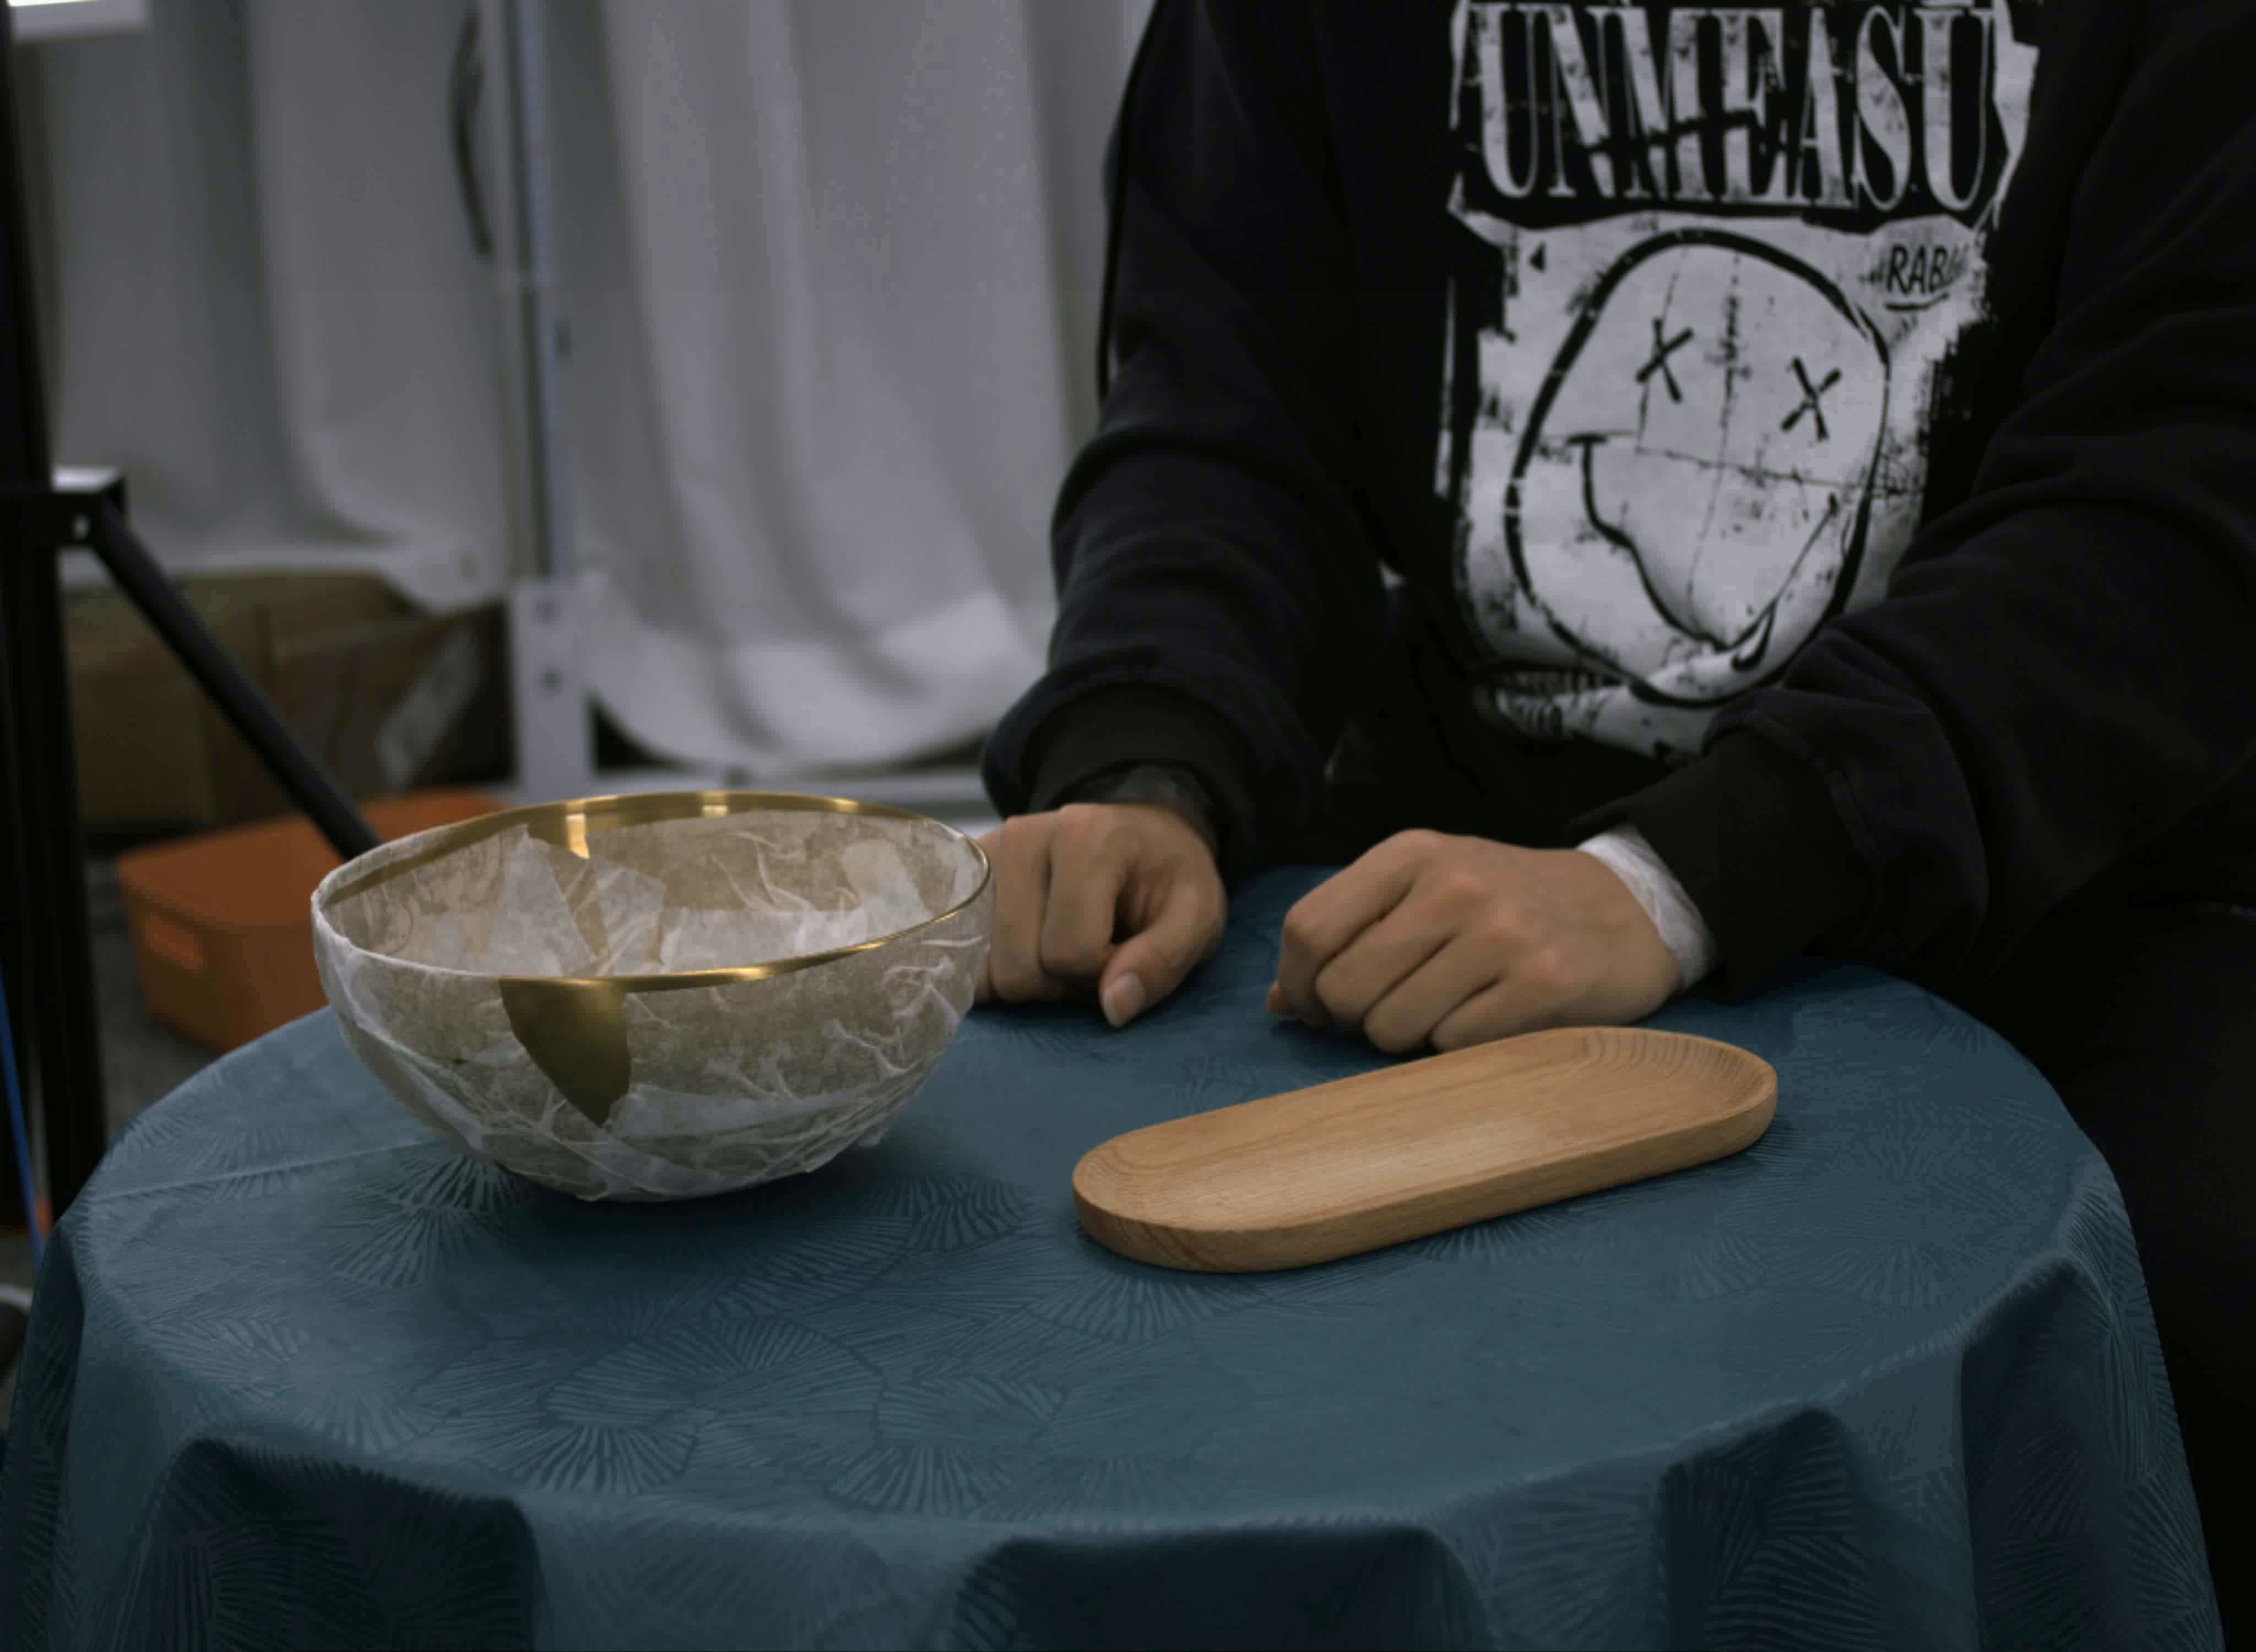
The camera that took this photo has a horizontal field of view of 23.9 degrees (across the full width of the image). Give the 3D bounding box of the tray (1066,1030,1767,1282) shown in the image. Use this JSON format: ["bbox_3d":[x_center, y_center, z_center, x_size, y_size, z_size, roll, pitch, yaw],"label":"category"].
[{"bbox_3d":[0.087,0.096,1.558,0.226,0.020,0.104,-14,17,-29],"label":"tray"}]

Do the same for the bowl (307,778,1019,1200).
[{"bbox_3d":[-0.134,0.057,1.588,0.213,0.094,0.216,-4,15,0],"label":"bowl"}]
